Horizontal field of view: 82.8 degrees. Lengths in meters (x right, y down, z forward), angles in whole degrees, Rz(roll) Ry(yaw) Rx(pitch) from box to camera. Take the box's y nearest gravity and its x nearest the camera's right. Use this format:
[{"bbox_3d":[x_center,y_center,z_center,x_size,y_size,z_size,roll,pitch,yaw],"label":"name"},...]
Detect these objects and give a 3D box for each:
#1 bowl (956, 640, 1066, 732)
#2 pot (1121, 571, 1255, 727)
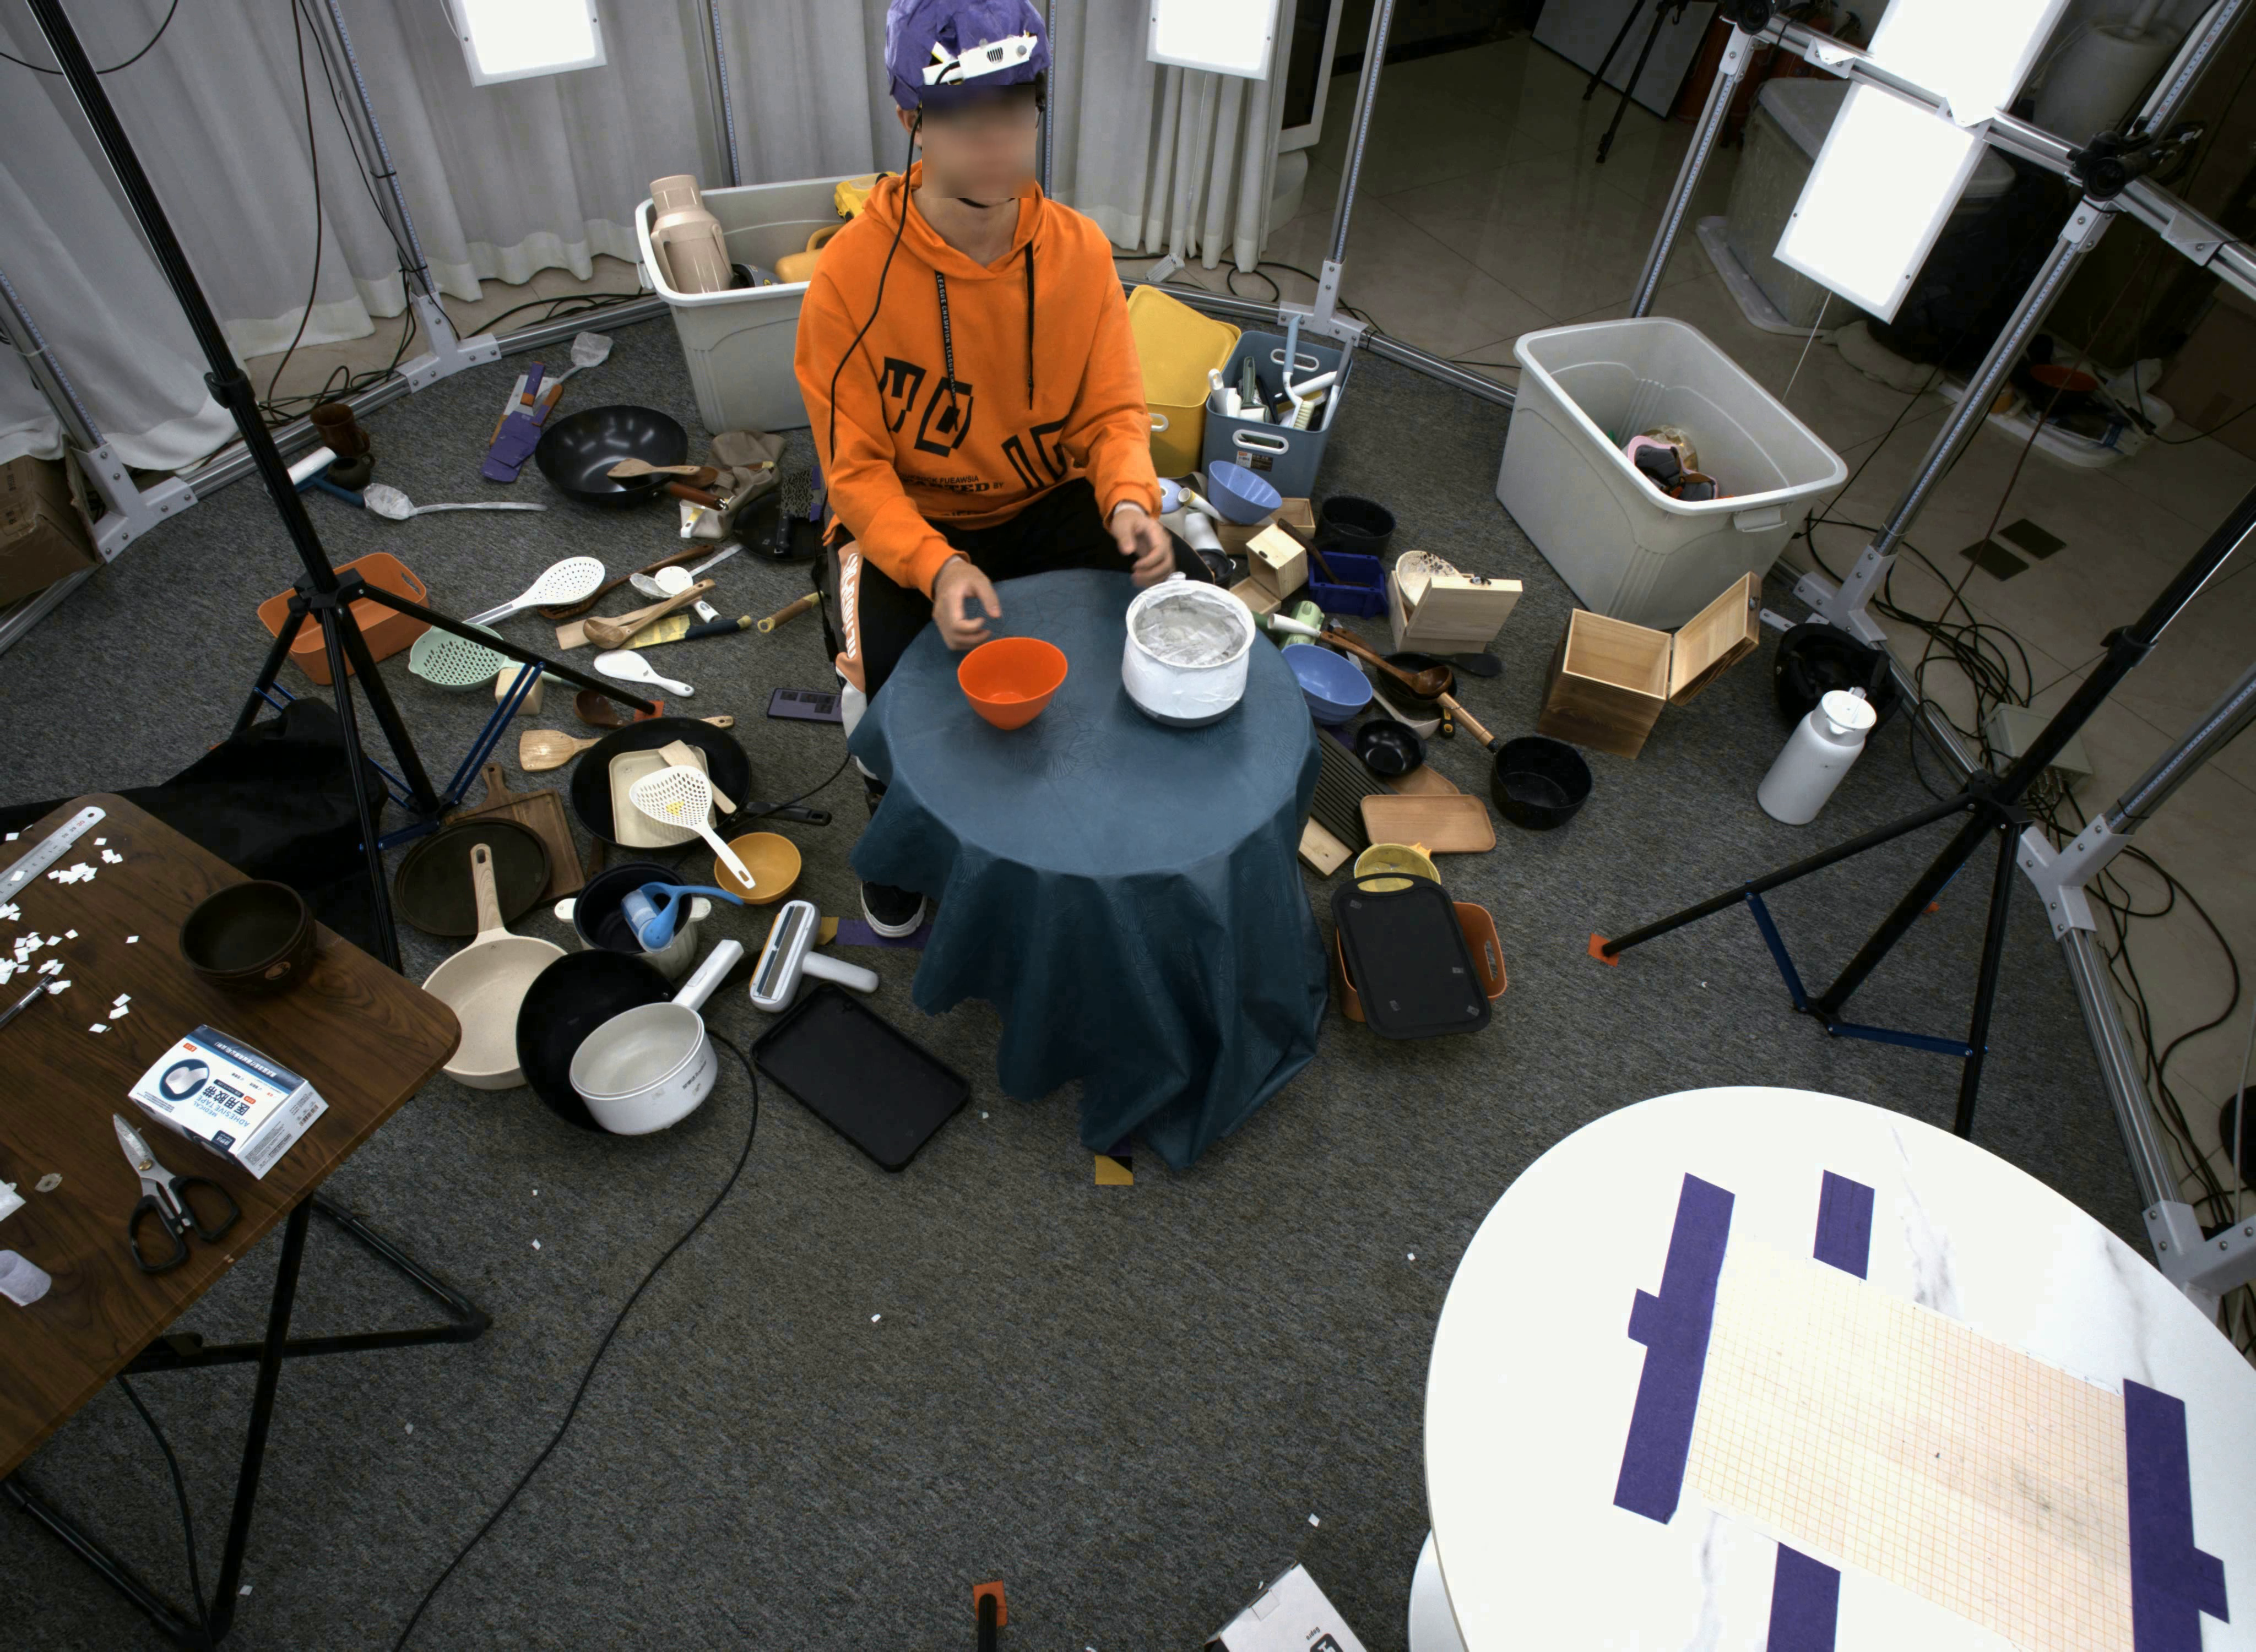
[{"bbox_3d":[-0.159,-0.181,1.754,0.148,0.102,0.152,2,48,-2],"label":"bowl"},{"bbox_3d":[0.076,-0.258,1.809,0.178,0.133,0.239,-4,50,-9],"label":"pot"}]
